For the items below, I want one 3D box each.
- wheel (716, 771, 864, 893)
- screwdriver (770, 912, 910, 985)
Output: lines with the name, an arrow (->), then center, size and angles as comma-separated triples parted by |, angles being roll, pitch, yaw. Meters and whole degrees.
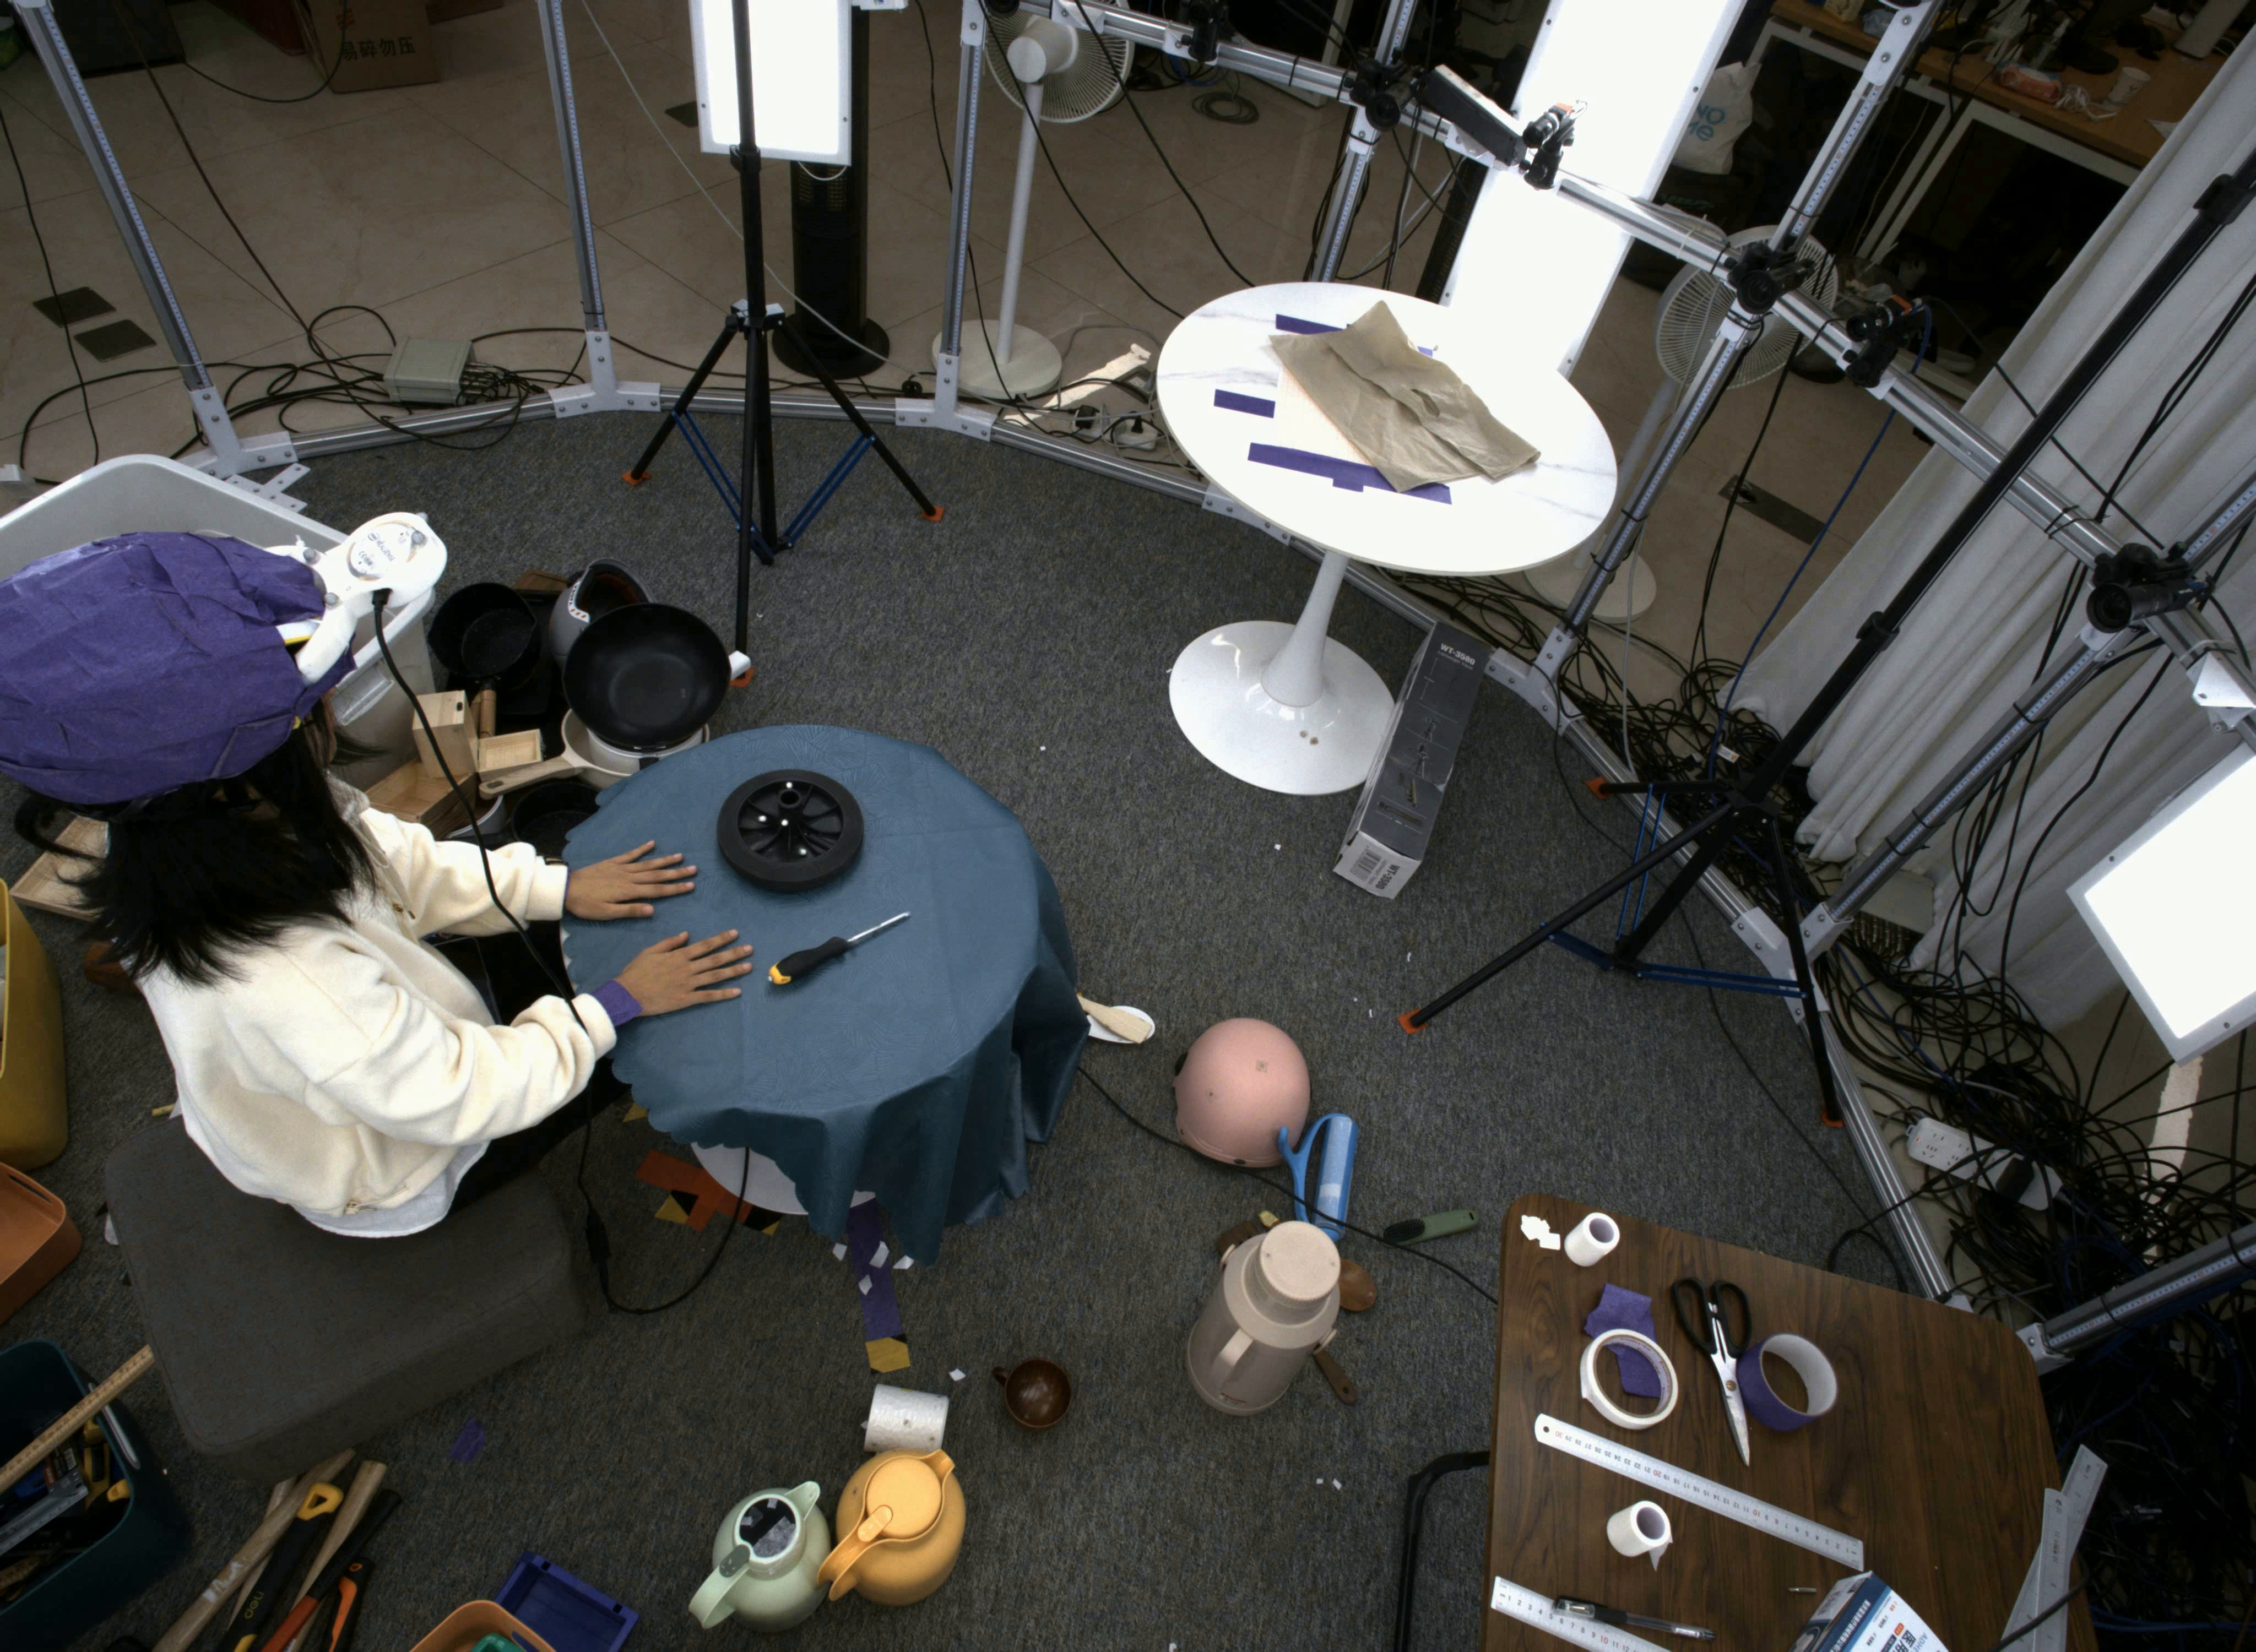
wheel -> -0.436, -0.009, 1.674 | 0.190, 0.080, 0.184 | 10, 52, -10
screwdriver -> -0.356, 0.142, 1.615 | 0.197, 0.032, 0.031 | -29, 64, -33
